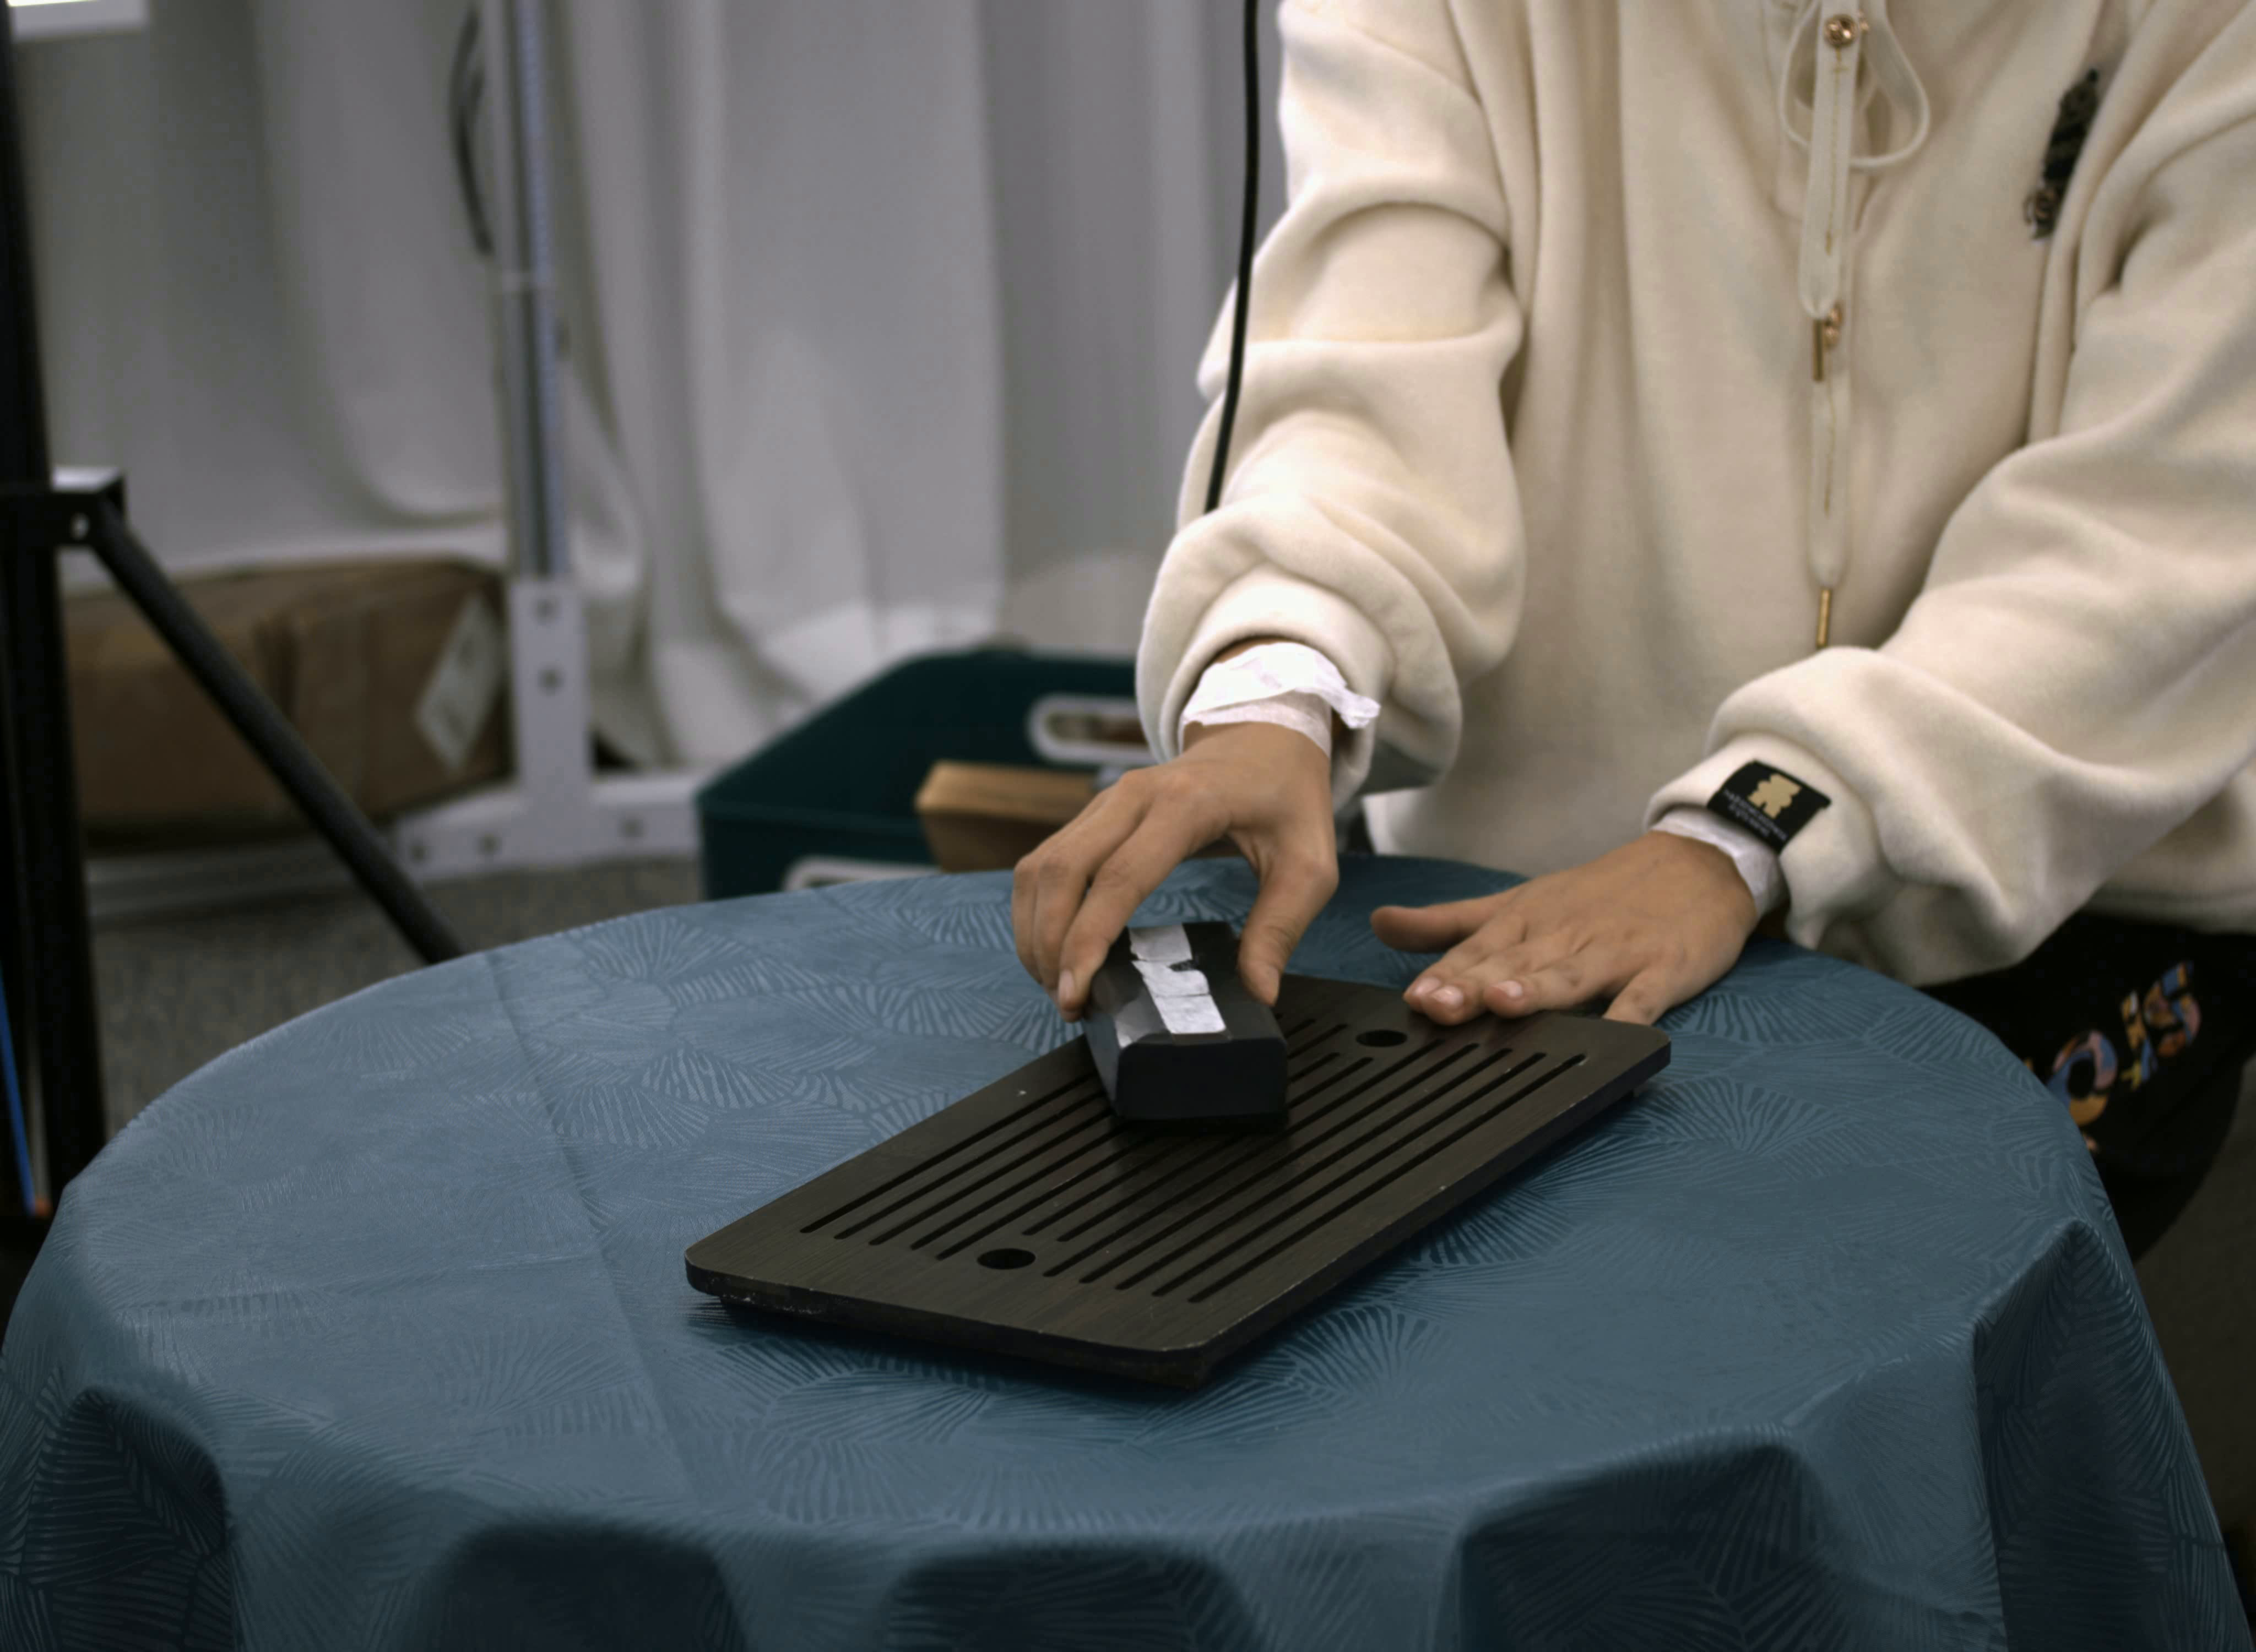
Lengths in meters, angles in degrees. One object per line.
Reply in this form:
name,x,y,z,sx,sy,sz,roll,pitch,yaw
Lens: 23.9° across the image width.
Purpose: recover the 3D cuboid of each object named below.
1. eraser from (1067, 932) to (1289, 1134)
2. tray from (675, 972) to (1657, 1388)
eraser,0.014,0.062,1.610,0.053,0.030,0.126,0,14,-7
tray,0.018,0.100,1.551,0.173,0.018,0.300,7,19,31
